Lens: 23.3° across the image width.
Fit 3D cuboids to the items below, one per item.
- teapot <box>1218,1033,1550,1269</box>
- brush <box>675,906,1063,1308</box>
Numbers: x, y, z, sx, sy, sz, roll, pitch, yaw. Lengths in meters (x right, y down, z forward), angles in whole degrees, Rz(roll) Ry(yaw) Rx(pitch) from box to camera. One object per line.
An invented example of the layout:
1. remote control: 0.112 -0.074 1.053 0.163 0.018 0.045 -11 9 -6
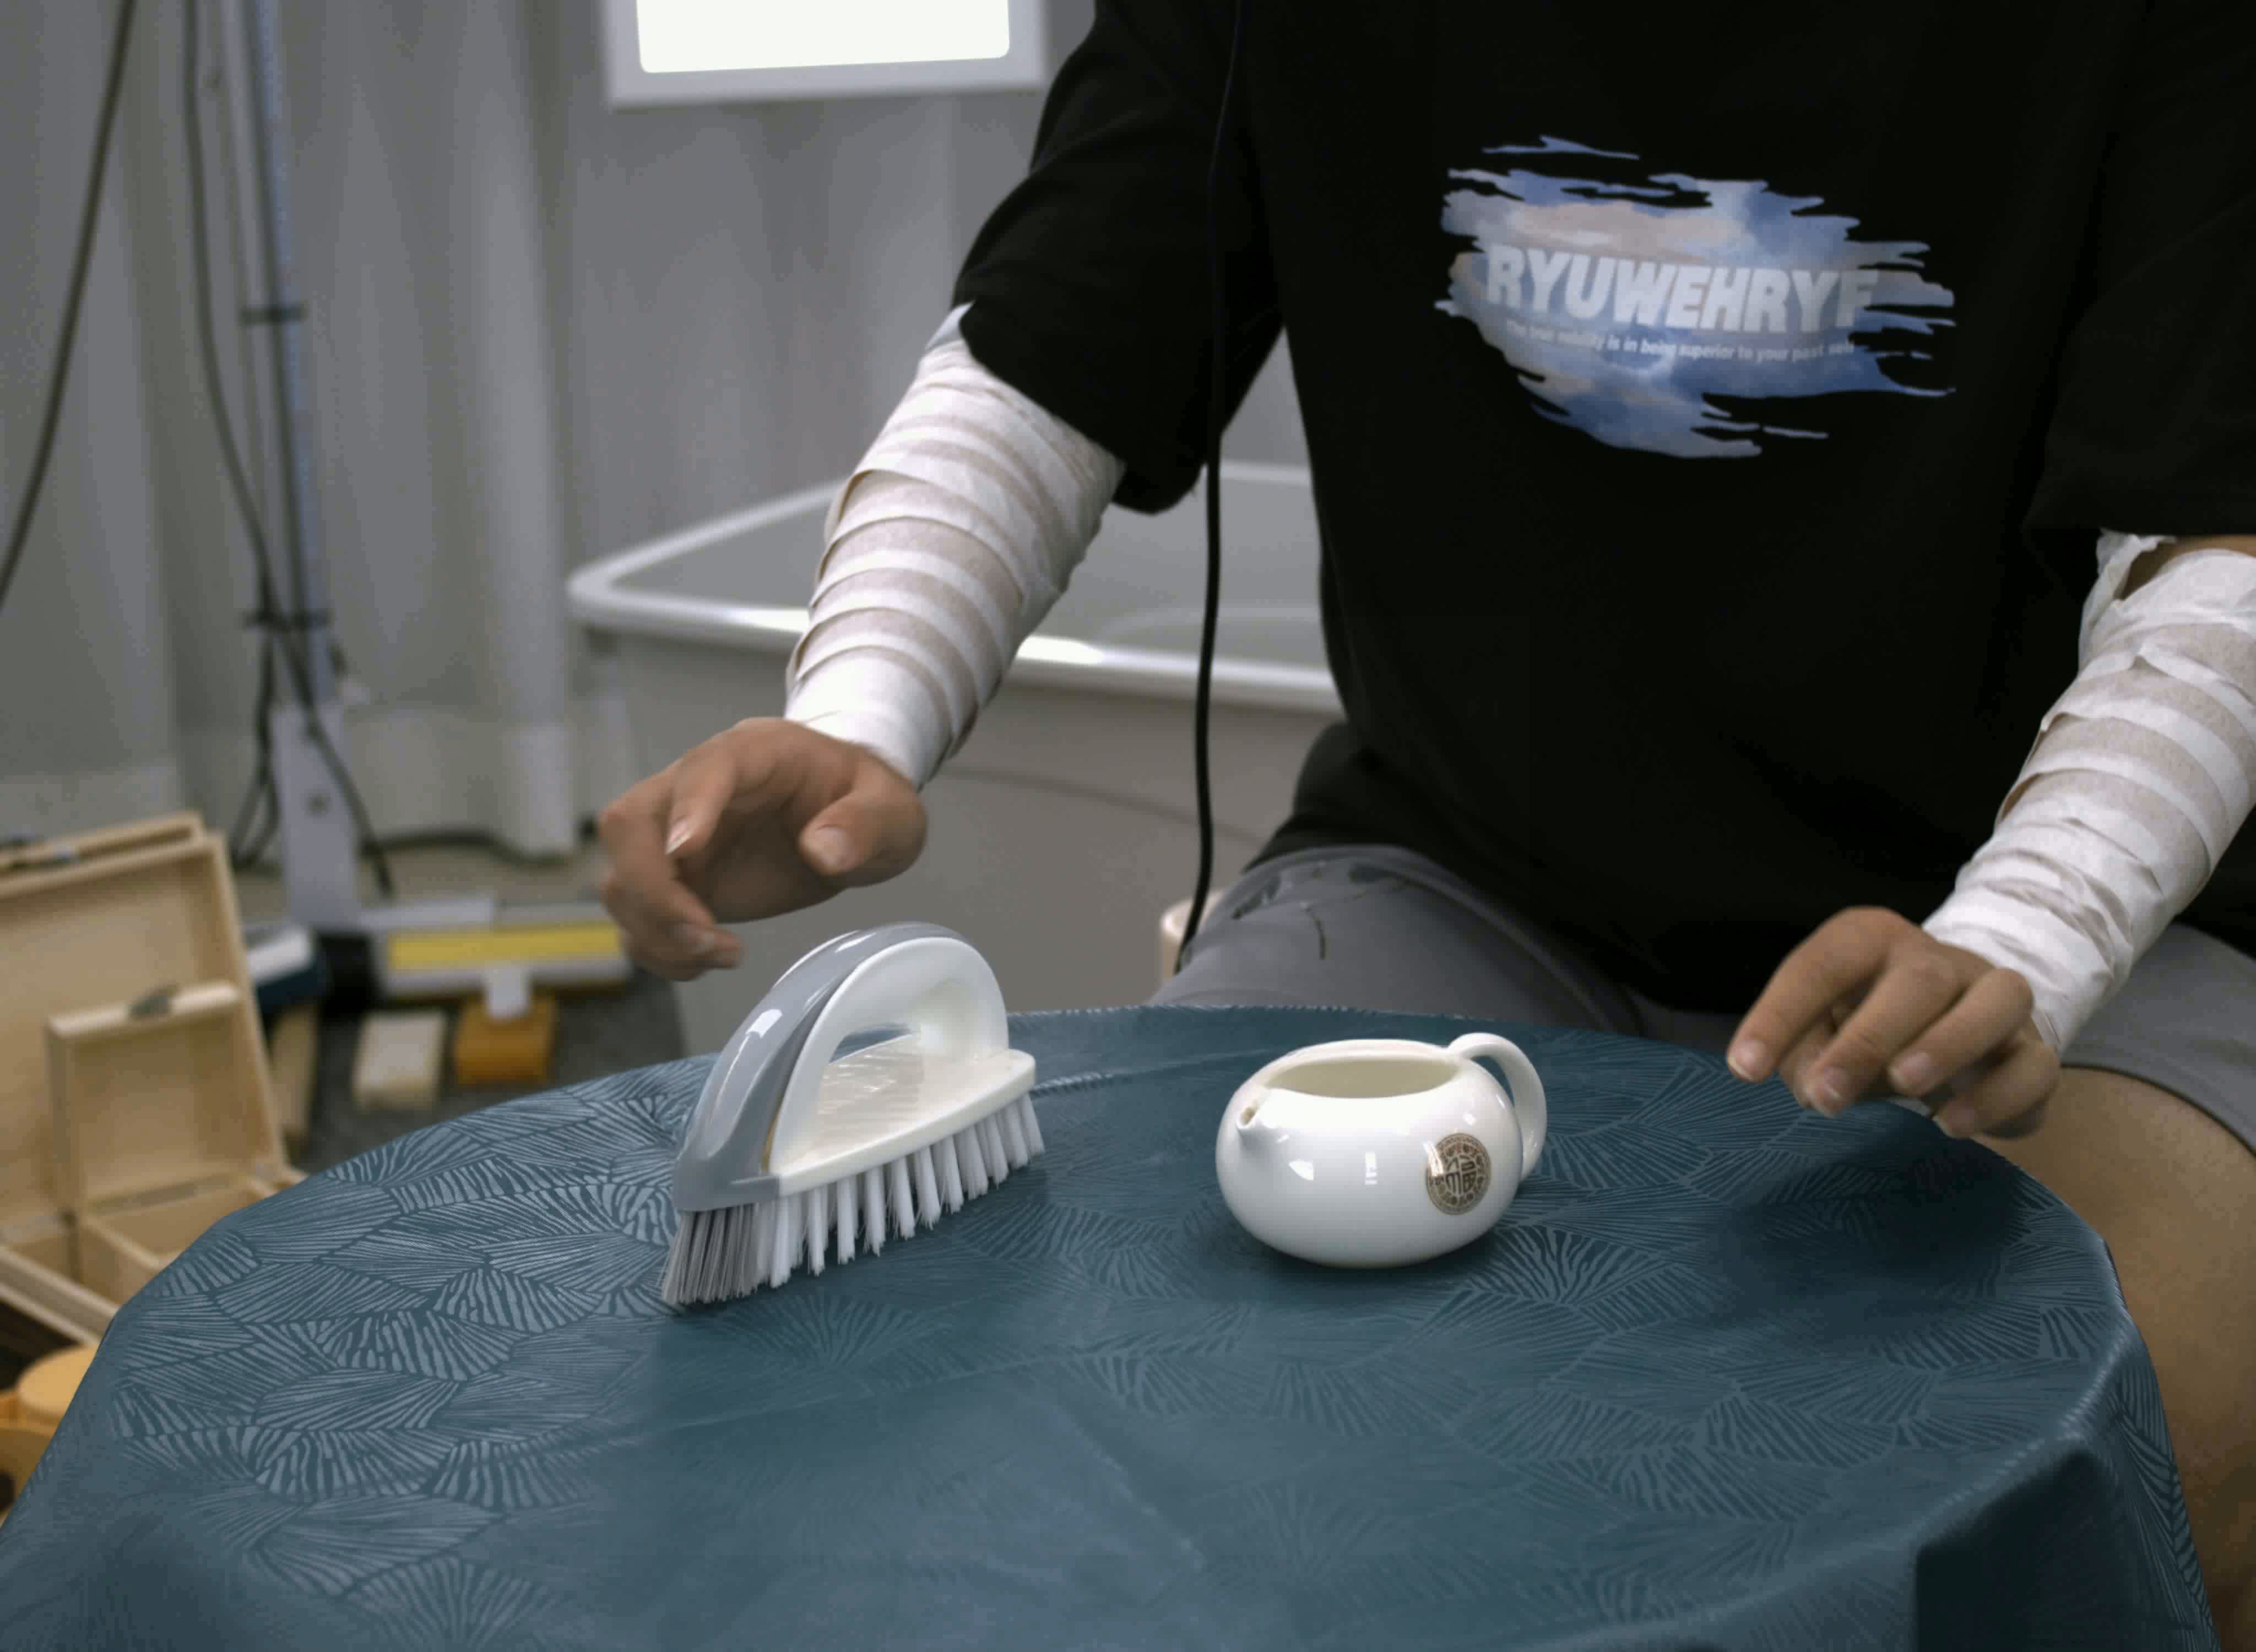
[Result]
1. teapot: 0.081 0.097 1.658 0.094 0.056 0.127 6 15 45
2. brush: -0.088 0.081 1.679 0.061 0.094 0.176 3 17 32
